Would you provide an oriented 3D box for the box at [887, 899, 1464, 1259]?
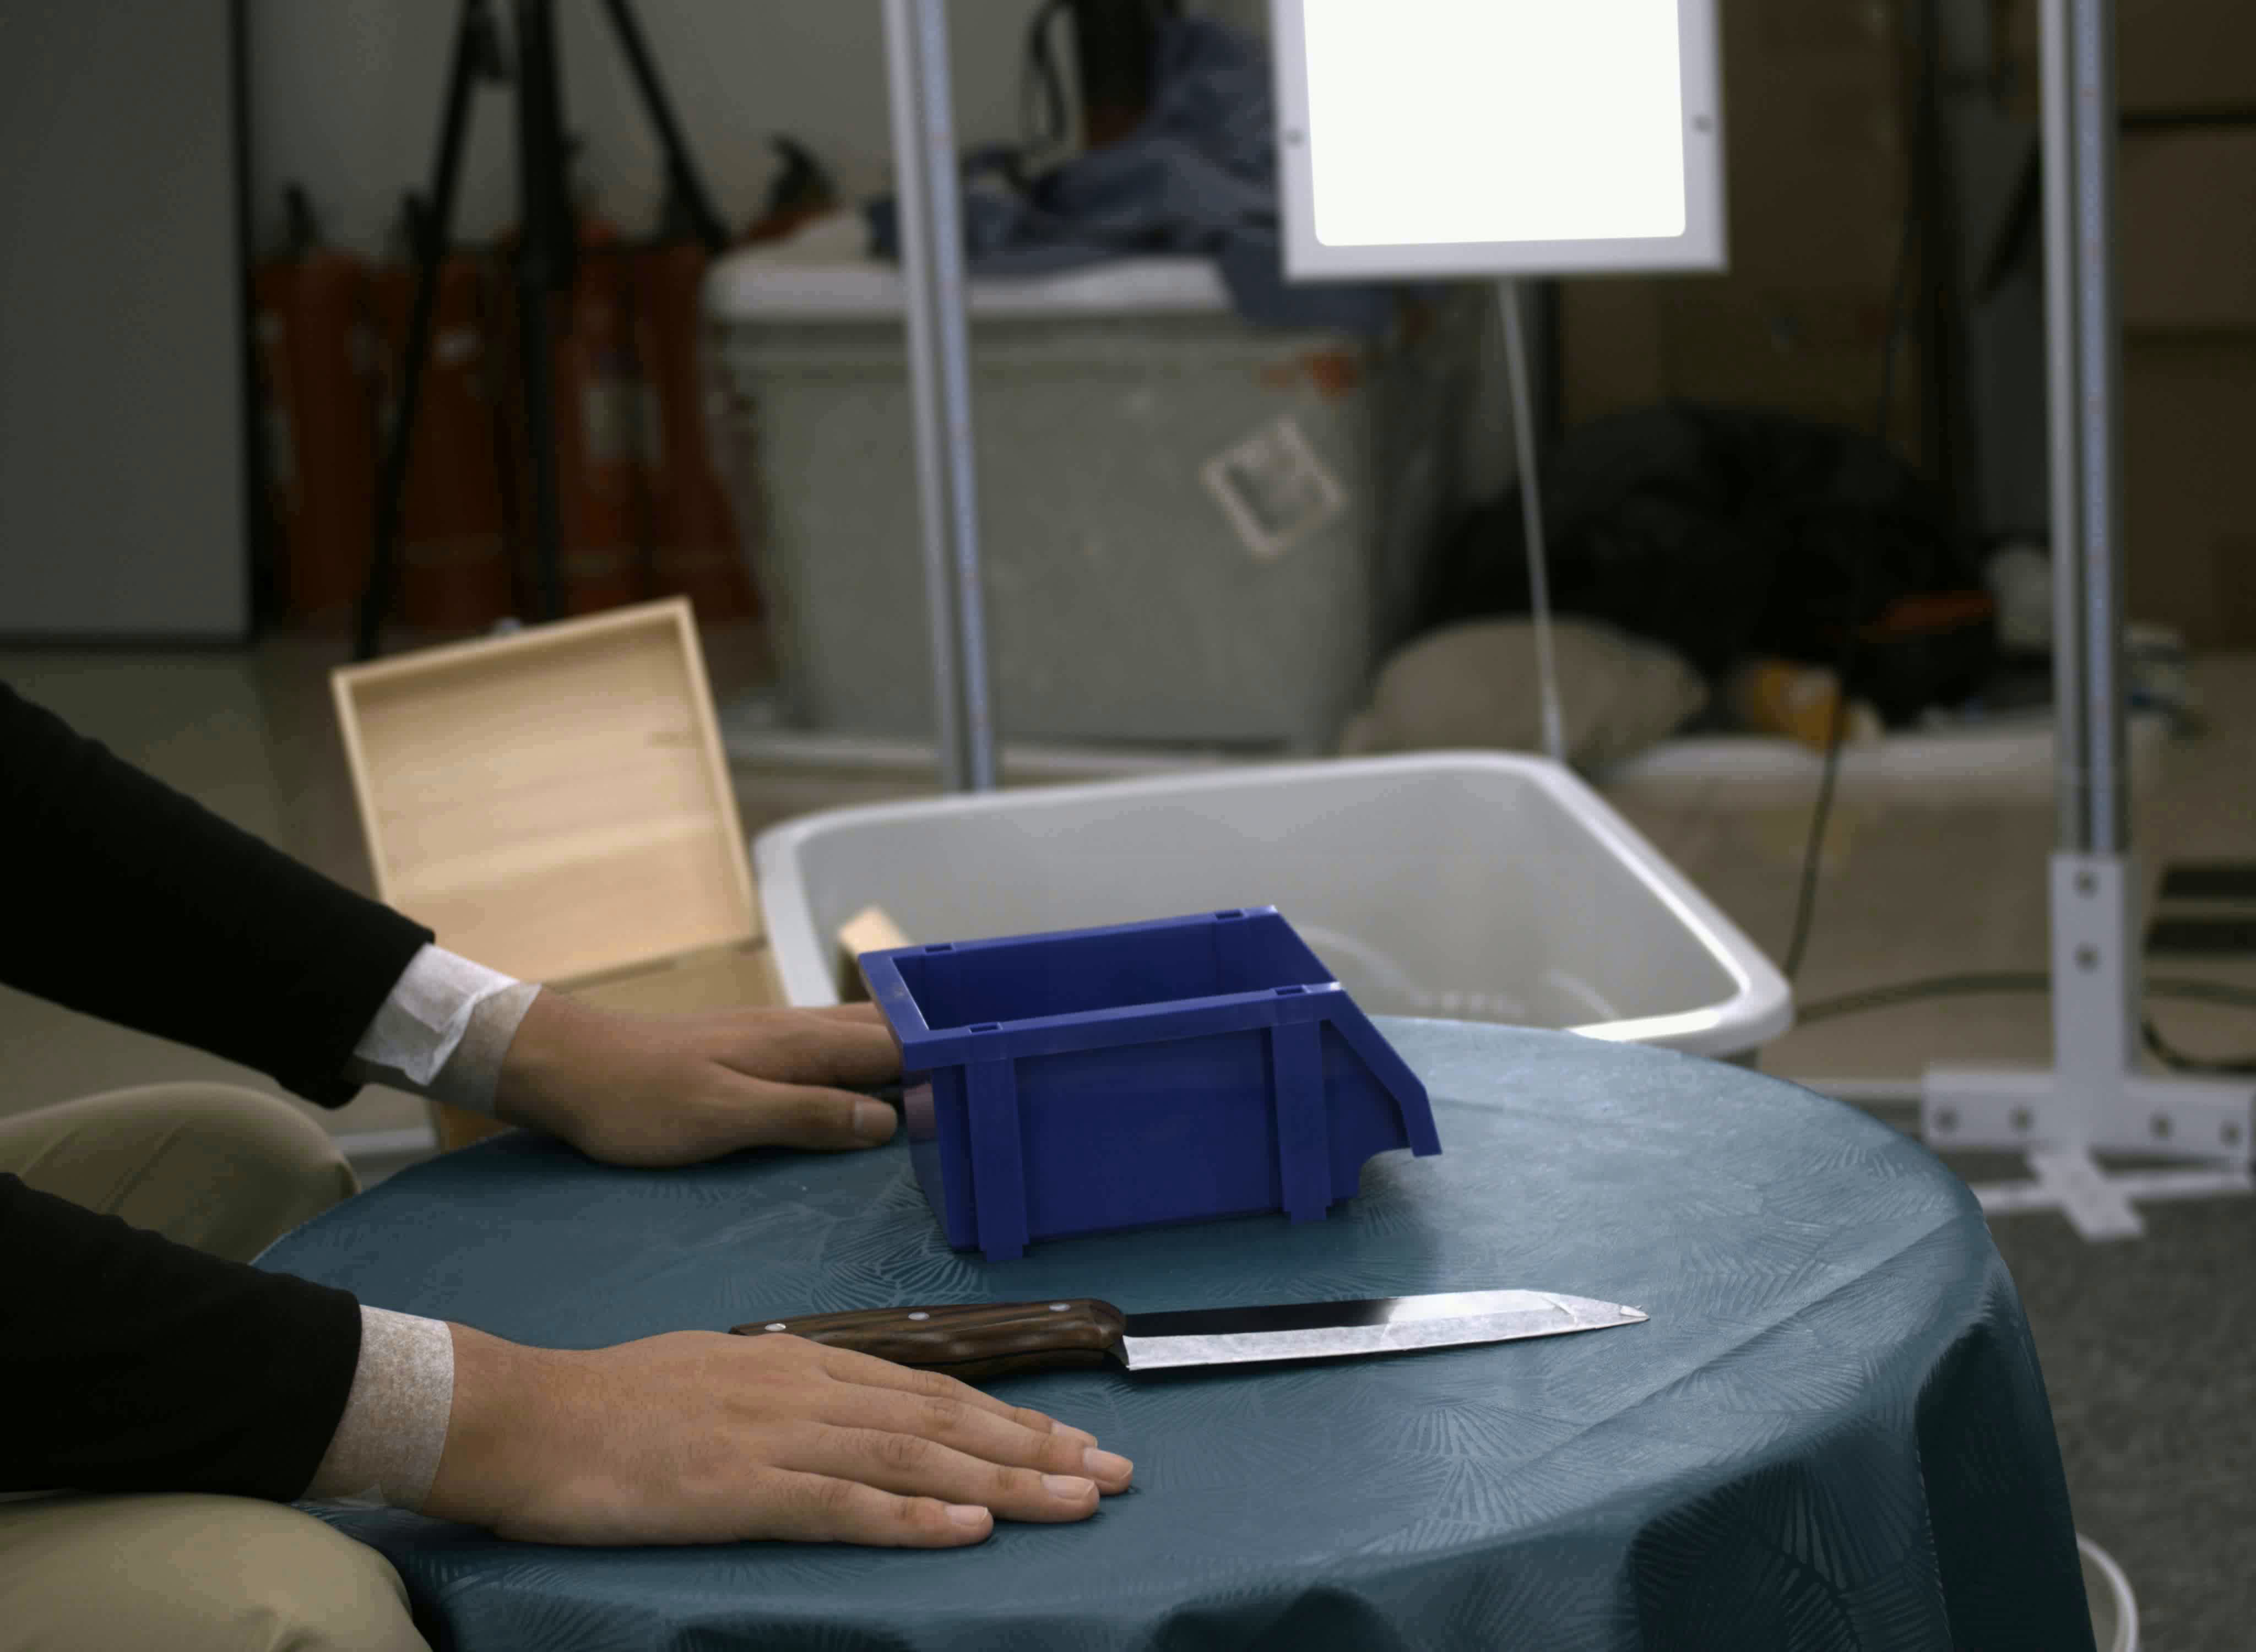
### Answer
[{"bbox_3d":[0.015,0.084,1.895,0.178,0.082,0.125,-9,14,-5],"label":"box"}]

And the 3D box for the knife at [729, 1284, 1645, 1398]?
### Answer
[{"bbox_3d":[0.019,0.160,1.725,0.288,0.020,0.050,-3,19,-1],"label":"knife"}]
